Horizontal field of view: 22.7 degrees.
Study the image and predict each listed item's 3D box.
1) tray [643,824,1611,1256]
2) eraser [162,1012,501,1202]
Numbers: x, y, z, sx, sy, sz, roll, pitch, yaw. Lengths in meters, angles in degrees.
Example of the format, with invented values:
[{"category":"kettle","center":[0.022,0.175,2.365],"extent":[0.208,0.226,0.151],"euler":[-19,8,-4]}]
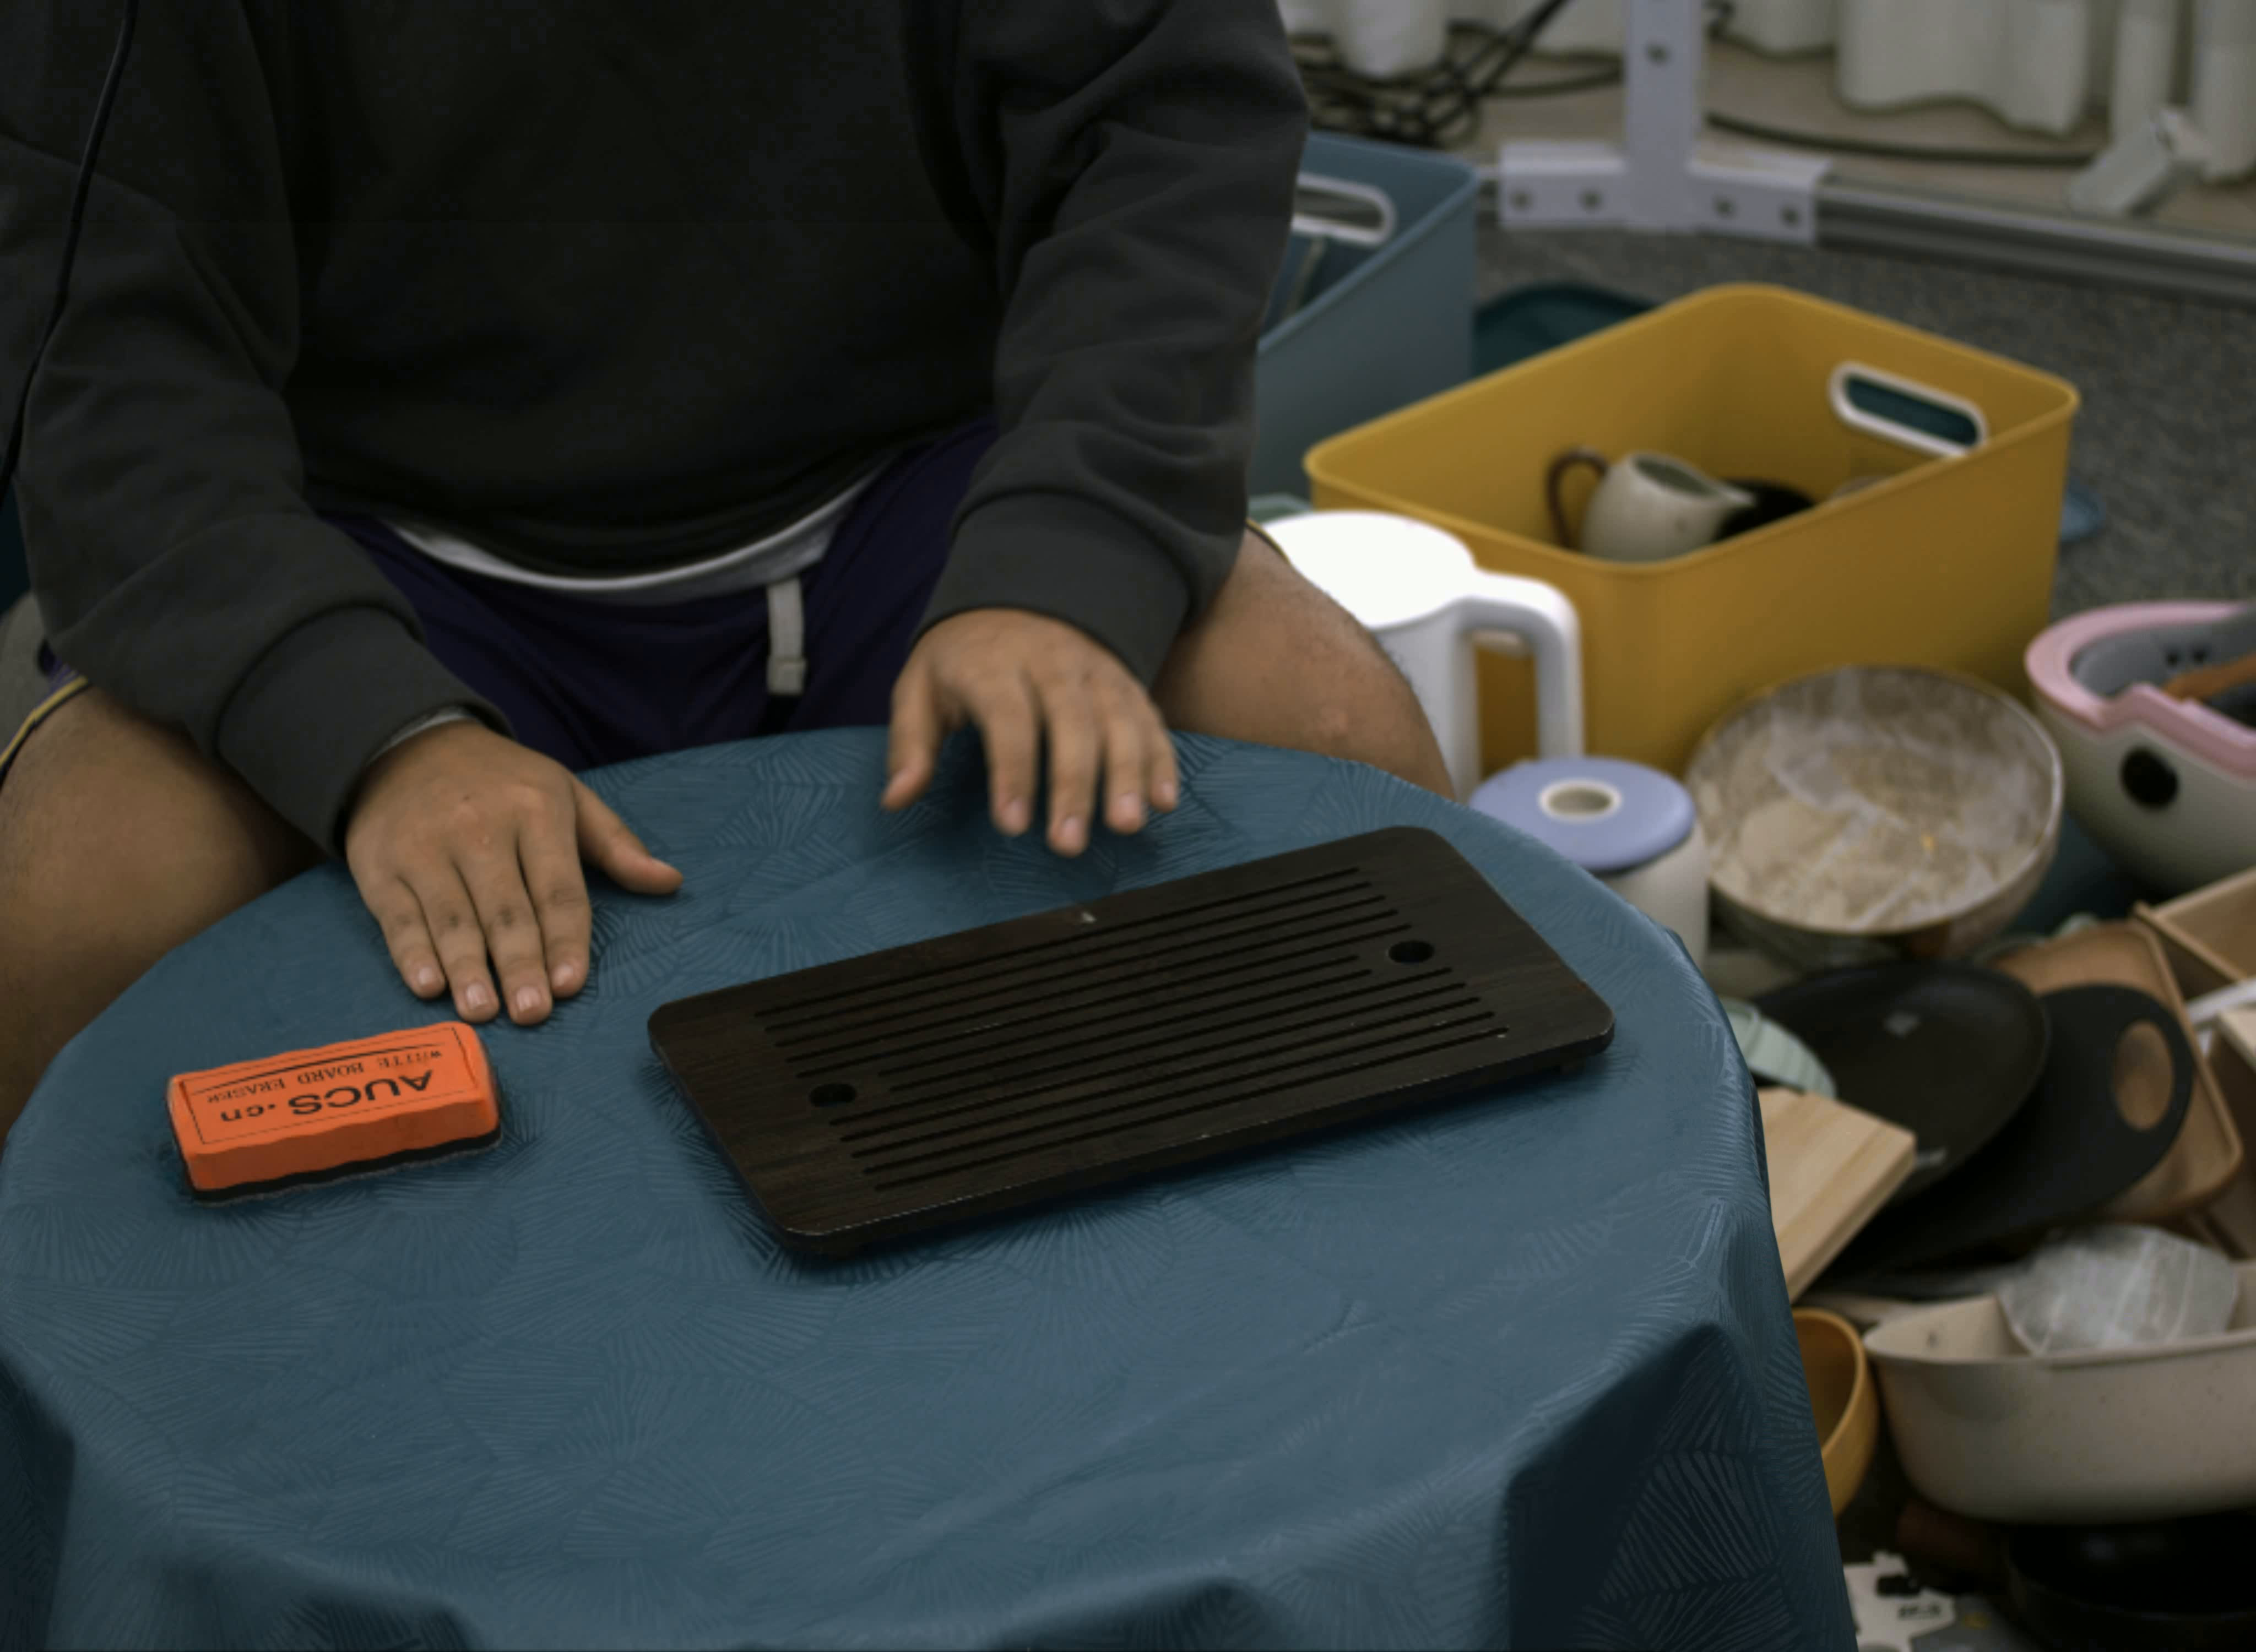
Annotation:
[{"category":"tray","center":[-0.002,0.072,1.938],"extent":[0.307,0.018,0.171],"euler":[-13,29,-19]},{"category":"eraser","center":[-0.271,0.096,1.907],"extent":[0.108,0.022,0.059],"euler":[-12,28,-15]}]
